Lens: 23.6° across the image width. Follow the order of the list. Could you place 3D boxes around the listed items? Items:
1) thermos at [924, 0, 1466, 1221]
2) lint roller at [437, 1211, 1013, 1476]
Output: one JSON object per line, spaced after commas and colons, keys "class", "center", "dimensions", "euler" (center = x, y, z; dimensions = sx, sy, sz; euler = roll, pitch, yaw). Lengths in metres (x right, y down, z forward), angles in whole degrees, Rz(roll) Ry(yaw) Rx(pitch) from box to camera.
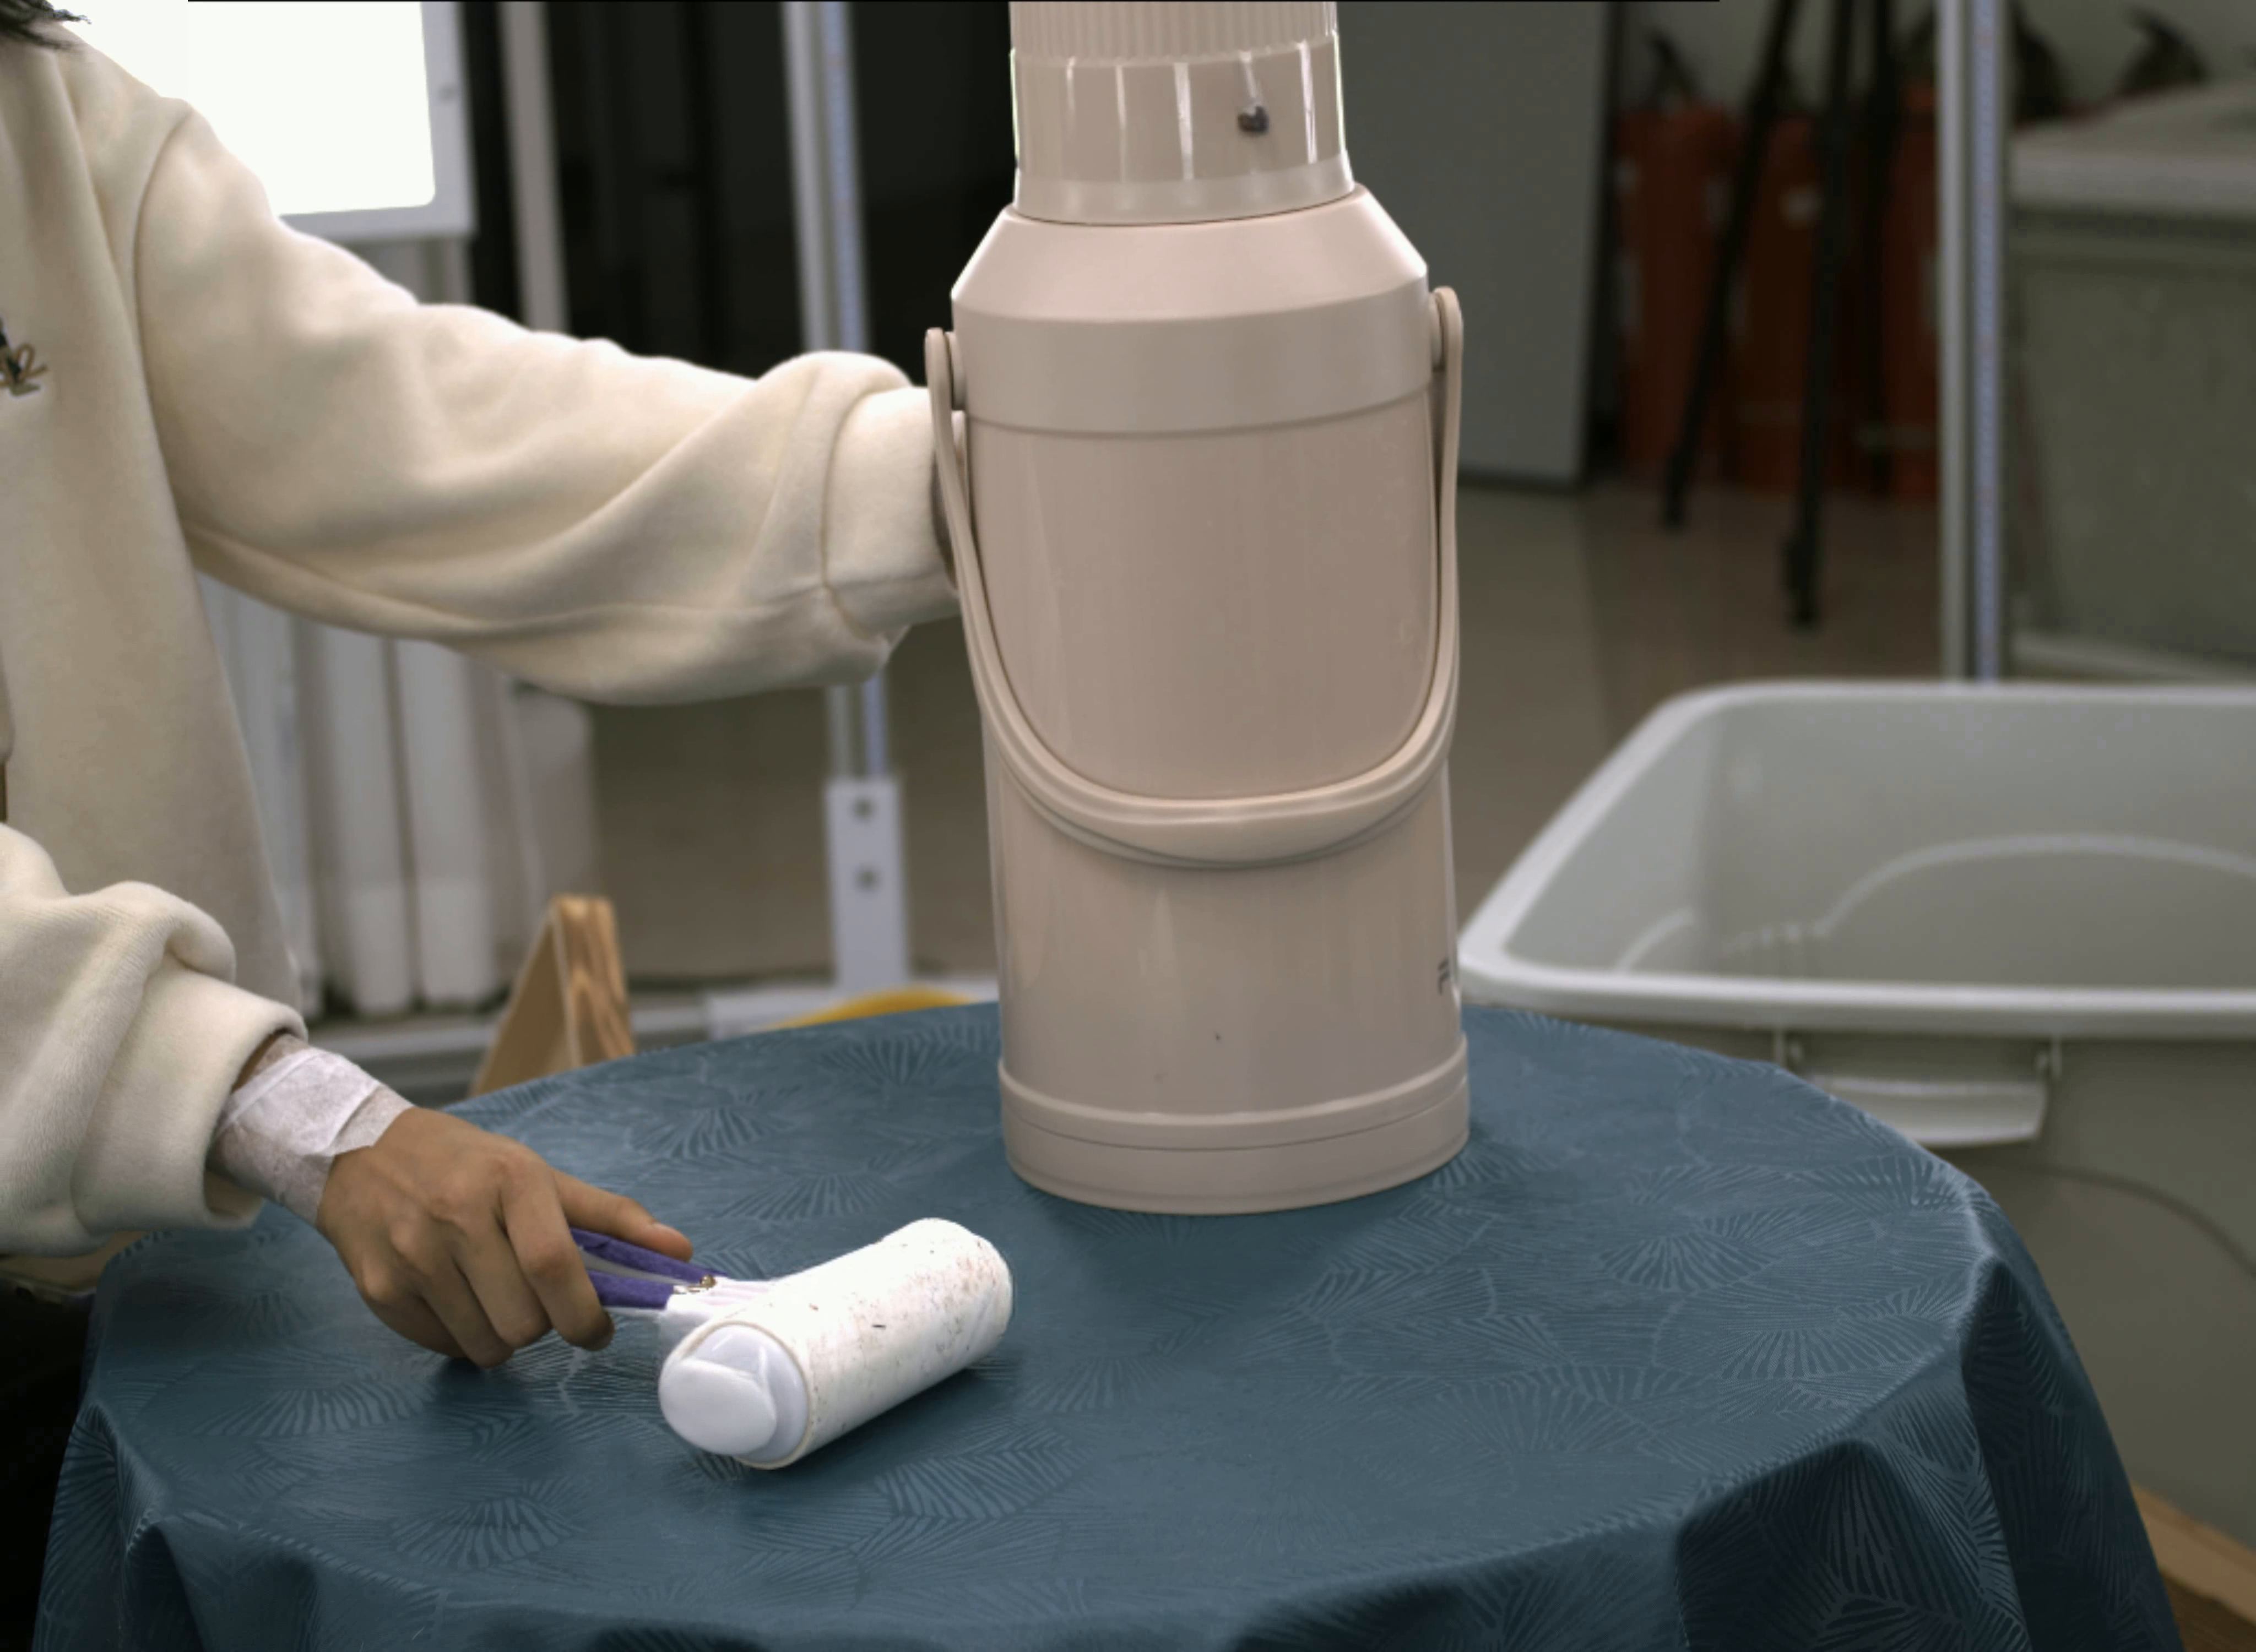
{"class": "thermos", "center": [0.024, -0.089, 1.781], "dimensions": [0.172, 0.411, 0.208], "euler": [-6, 13, -6]}
{"class": "lint roller", "center": [-0.132, 0.132, 1.611], "dimensions": [0.182, 0.051, 0.130], "euler": [21, 26, 32]}
